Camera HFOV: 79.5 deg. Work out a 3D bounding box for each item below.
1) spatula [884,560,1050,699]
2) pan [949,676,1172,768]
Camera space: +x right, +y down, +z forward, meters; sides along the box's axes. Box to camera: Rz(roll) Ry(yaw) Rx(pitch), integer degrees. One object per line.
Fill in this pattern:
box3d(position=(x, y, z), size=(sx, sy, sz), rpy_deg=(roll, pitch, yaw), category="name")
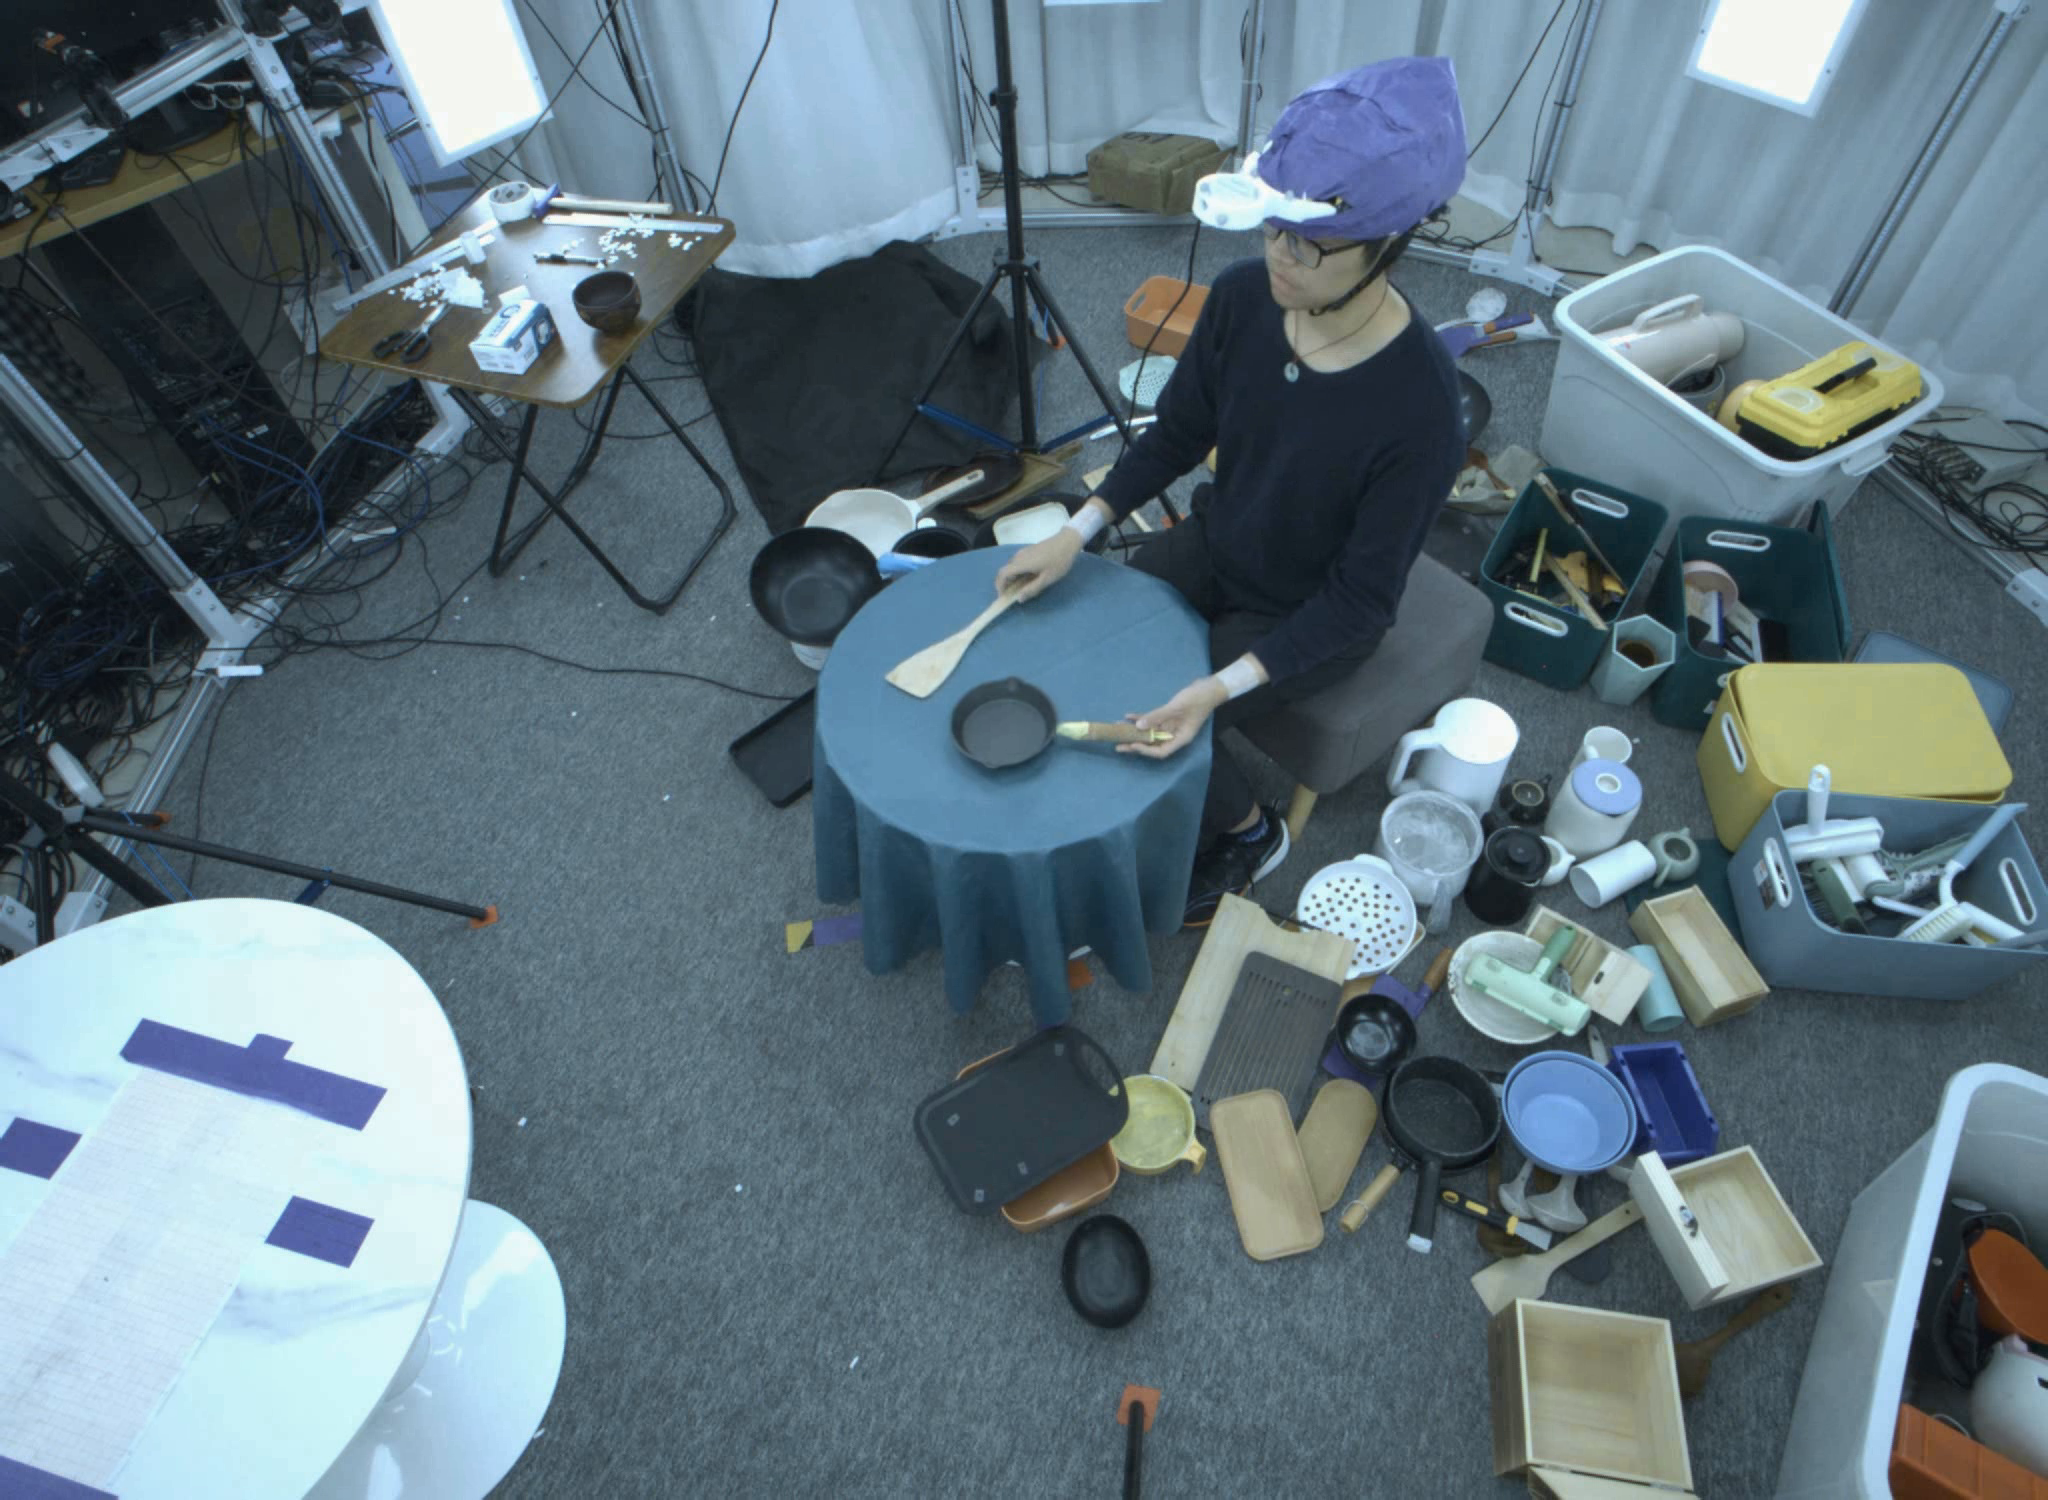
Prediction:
box3d(position=(-0.076, -0.194, 1.908), size=(0.078, 0.017, 0.329), rpy_deg=(38, 71, 23), category="spatula")
box3d(position=(0.052, -0.028, 1.773), size=(0.322, 0.050, 0.168), rpy_deg=(7, 55, 9), category="pan")
